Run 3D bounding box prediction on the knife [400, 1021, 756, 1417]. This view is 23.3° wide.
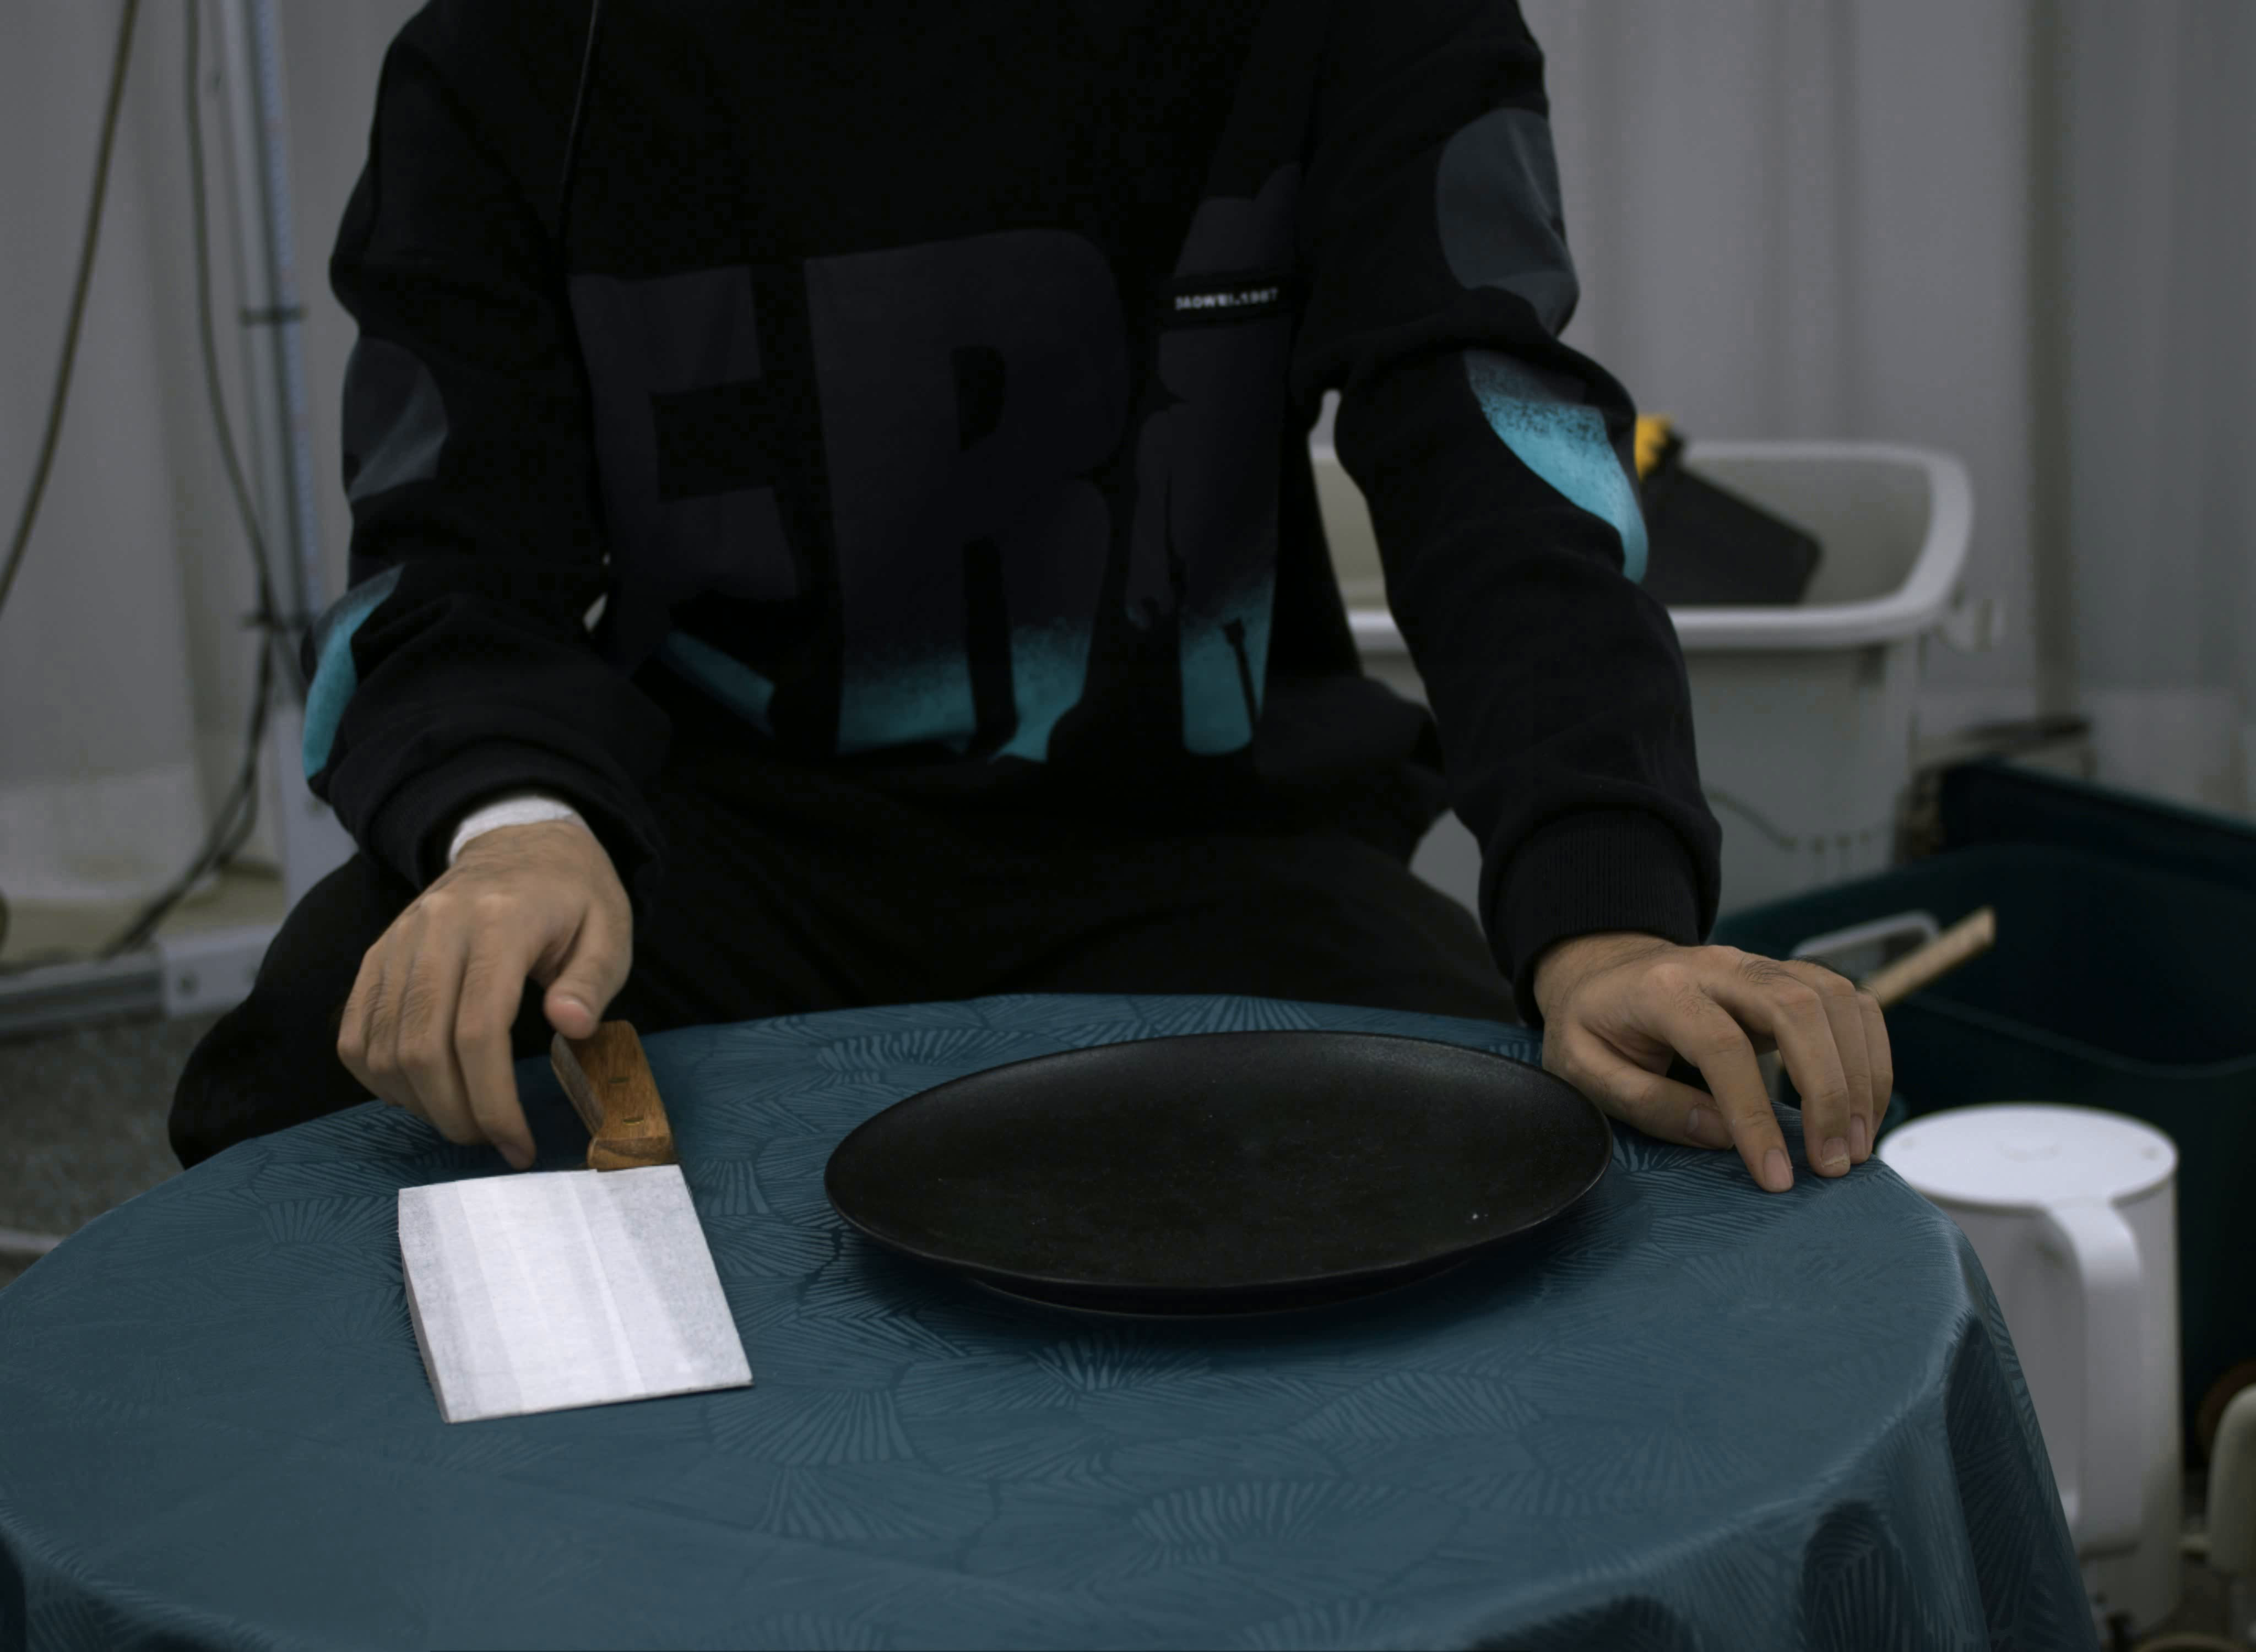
[{"bbox_3d":[-0.178,0.121,1.699,0.092,0.021,0.308,-7,18,-9],"label":"knife"}]

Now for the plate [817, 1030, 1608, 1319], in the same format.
[{"bbox_3d":[0.027,0.110,1.682,0.243,0.023,0.246,-3,15,1],"label":"plate"}]
